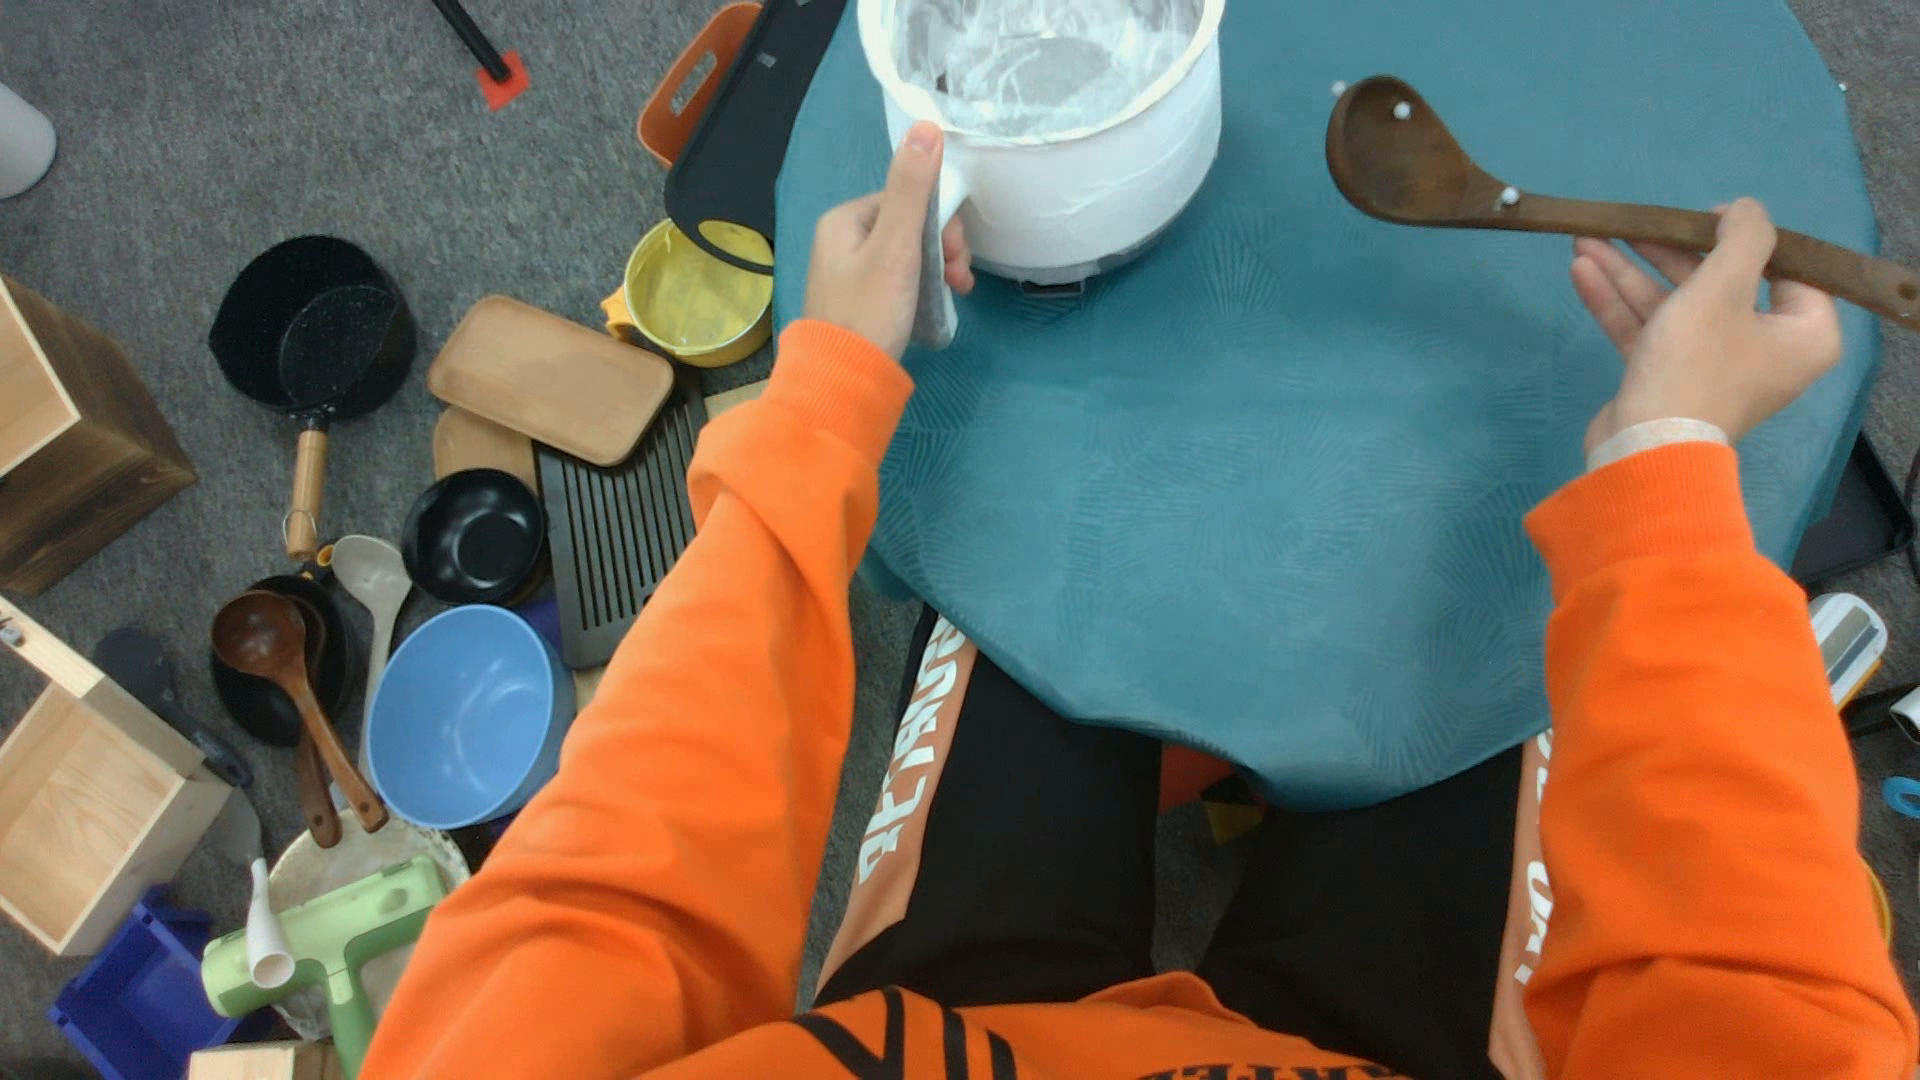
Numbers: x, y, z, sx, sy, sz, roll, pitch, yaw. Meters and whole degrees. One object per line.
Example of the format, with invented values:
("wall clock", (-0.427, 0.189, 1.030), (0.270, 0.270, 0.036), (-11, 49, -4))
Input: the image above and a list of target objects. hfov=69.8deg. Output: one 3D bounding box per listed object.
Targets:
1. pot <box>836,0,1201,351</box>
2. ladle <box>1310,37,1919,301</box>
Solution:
("pot", (0.022, -0.213, 0.711), (0.178, 0.136, 0.234), (26, 73, 19))
("ladle", (0.288, -0.164, 0.604), (0.274, 0.071, 0.076), (21, 73, 27))
